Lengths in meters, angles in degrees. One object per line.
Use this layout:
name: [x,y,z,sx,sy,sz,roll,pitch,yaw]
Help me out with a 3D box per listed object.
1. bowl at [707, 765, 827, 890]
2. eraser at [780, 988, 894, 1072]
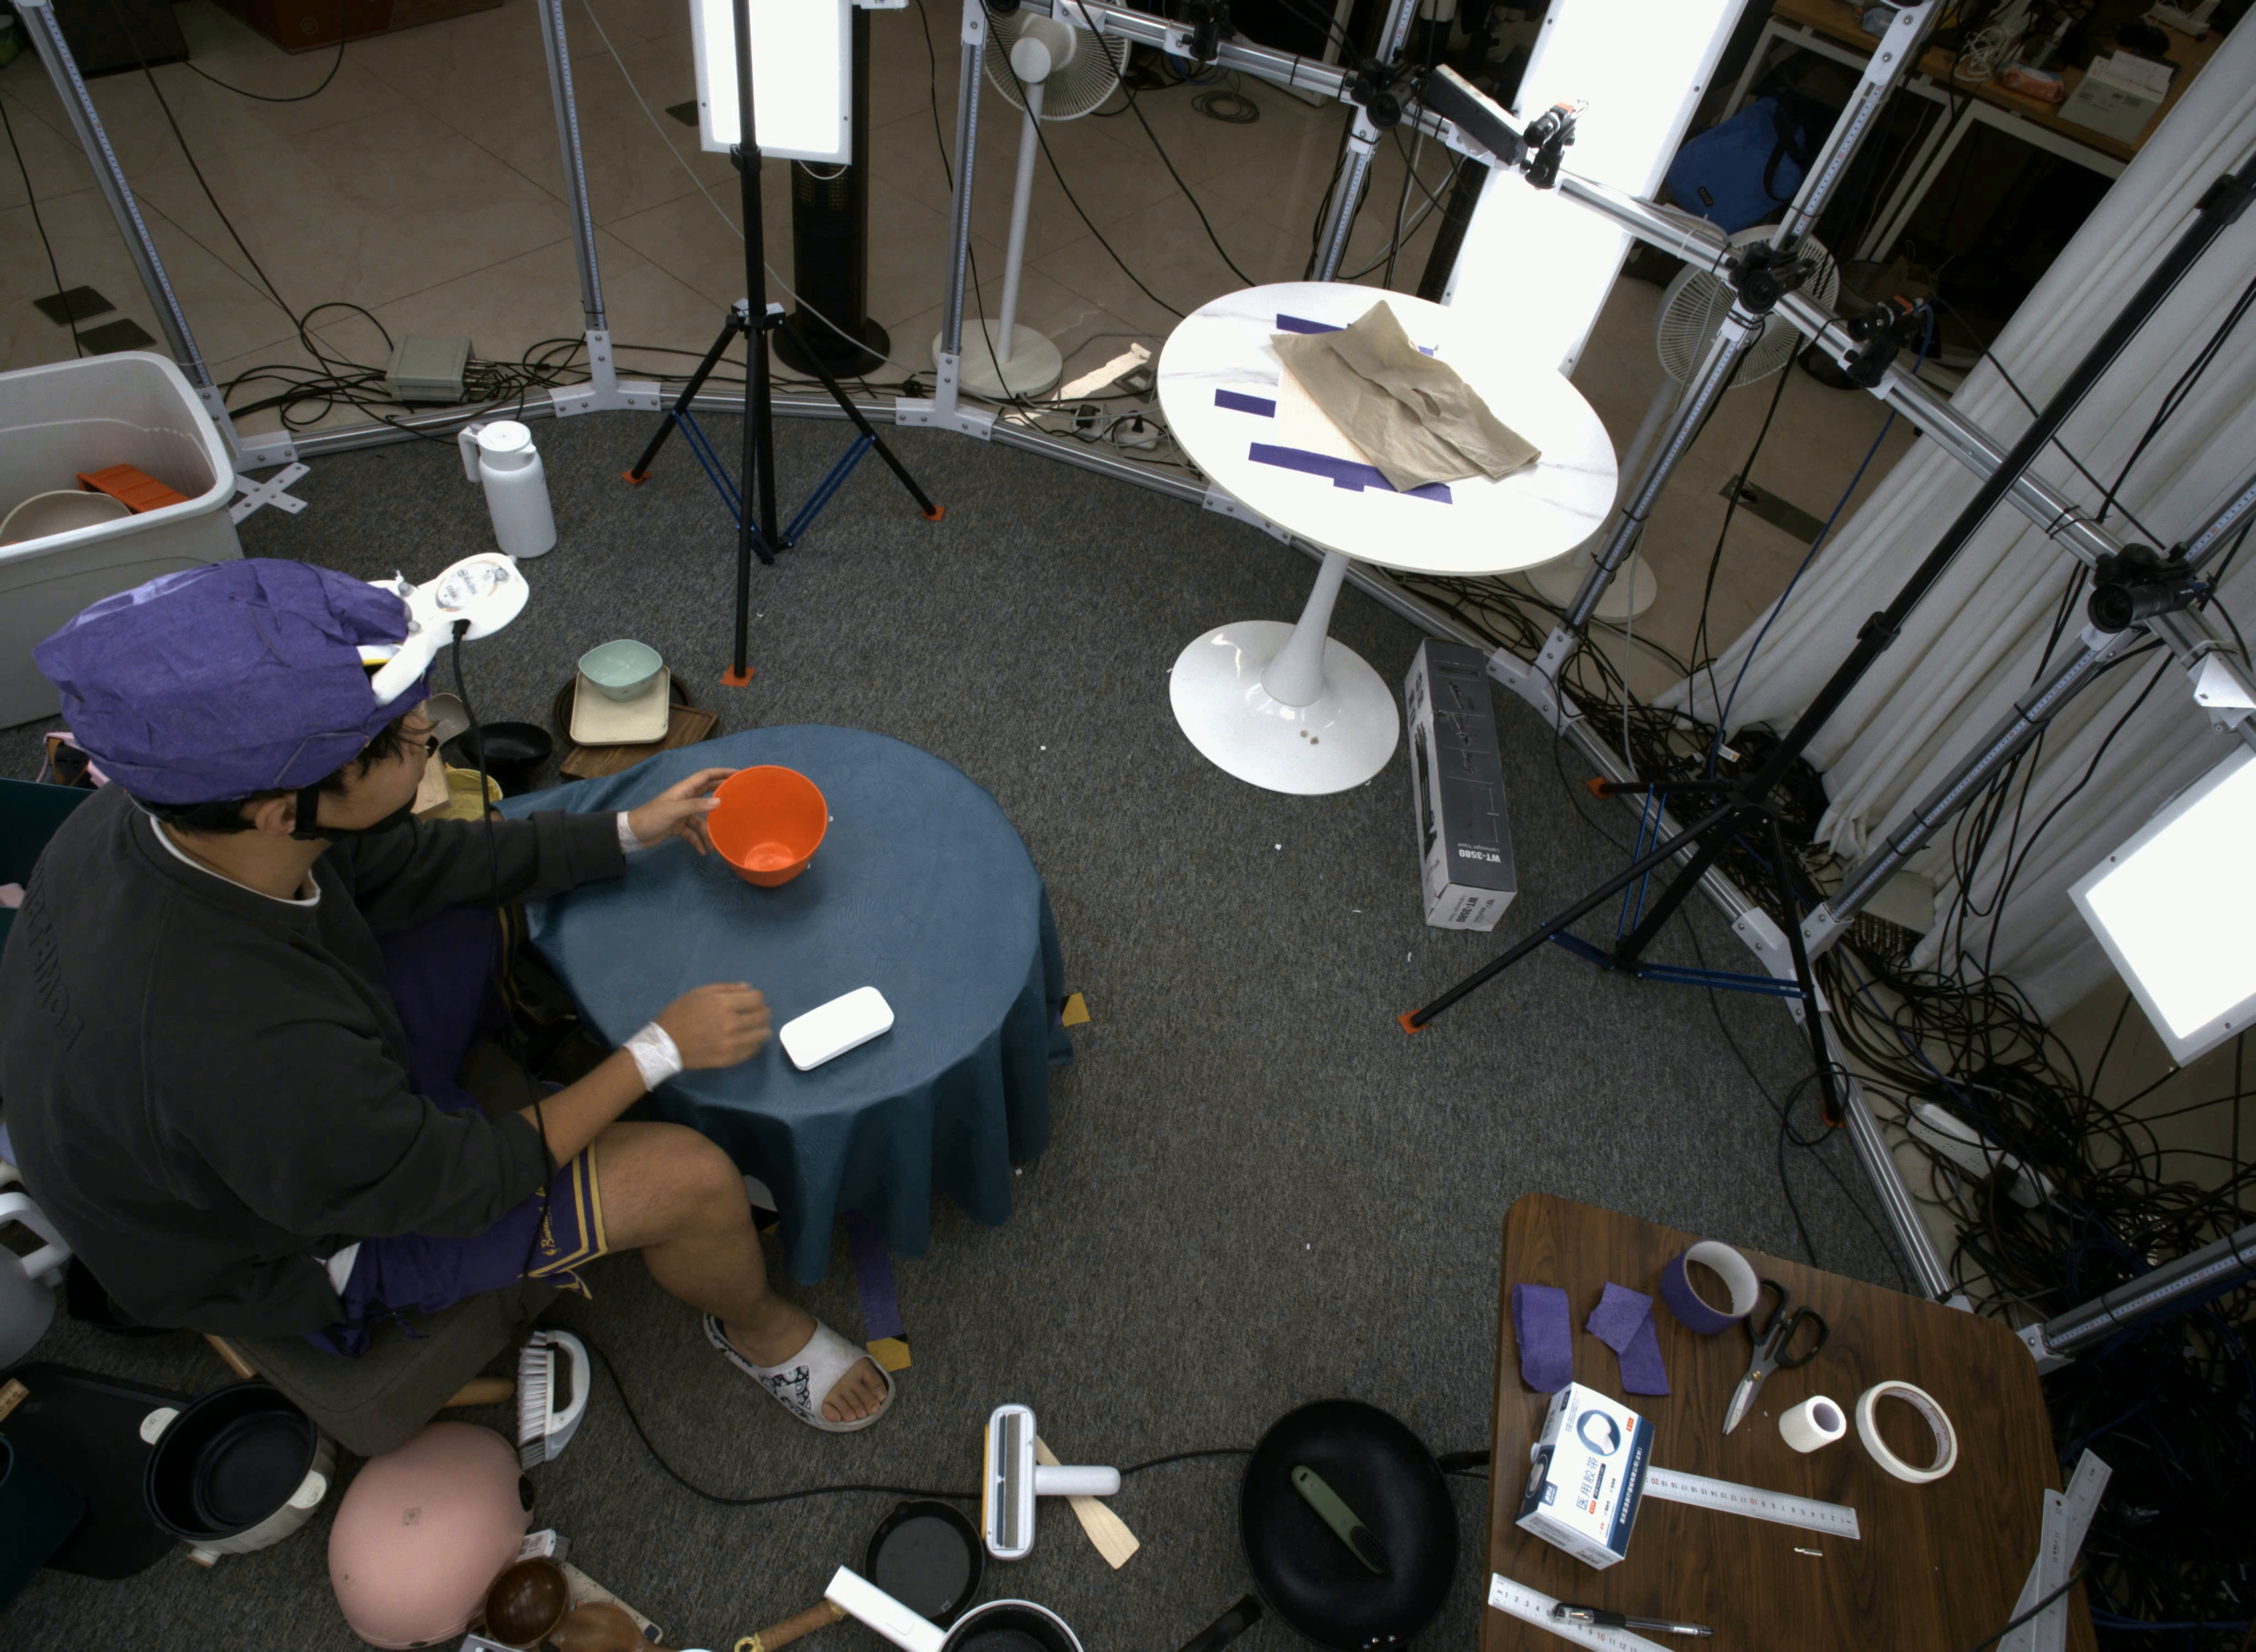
bowl: [-0.456,0.013,1.647,0.148,0.107,0.145,7,53,-8]
eraser: [-0.347,0.239,1.549,0.132,0.035,0.062,-23,61,-29]
